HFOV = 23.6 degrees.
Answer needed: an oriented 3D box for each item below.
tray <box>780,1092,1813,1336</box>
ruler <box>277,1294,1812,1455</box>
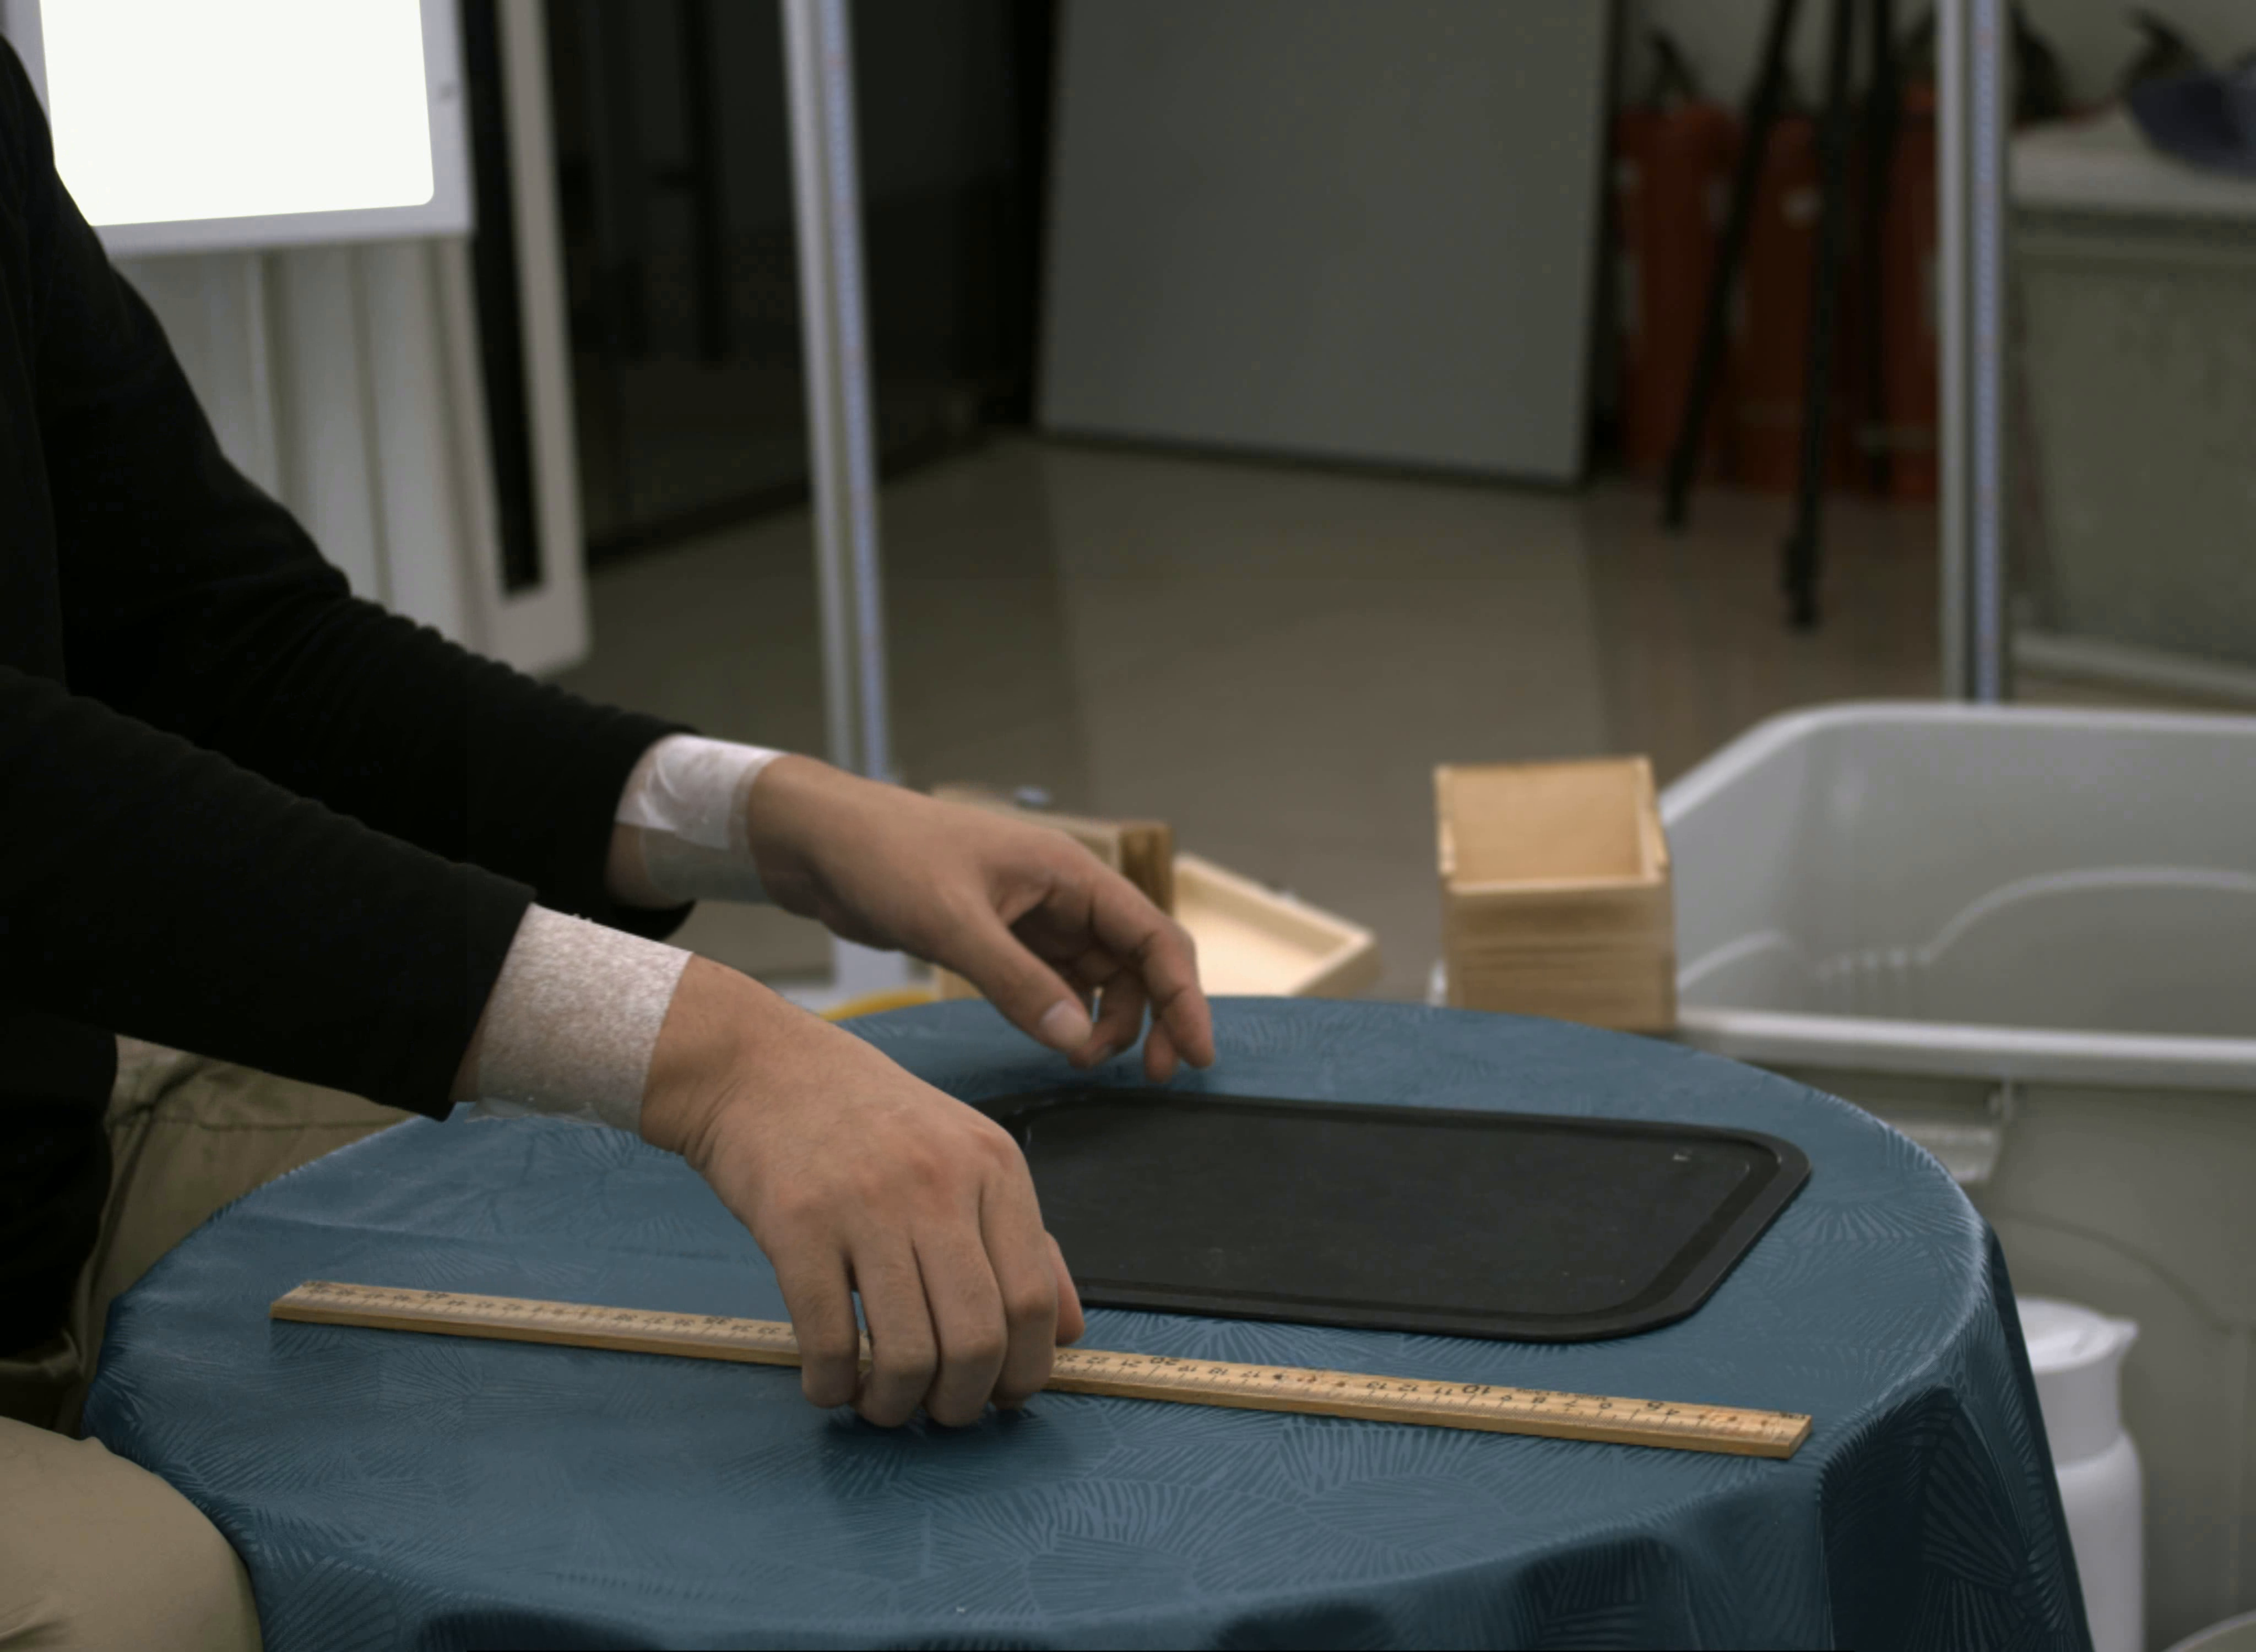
[{"bbox_3d":[0.048,0.121,1.741,0.326,0.010,0.208,2,15,24],"label":"tray"},{"bbox_3d":[-0.037,0.161,1.608,0.501,0.006,0.026,2,11,25],"label":"ruler"}]
